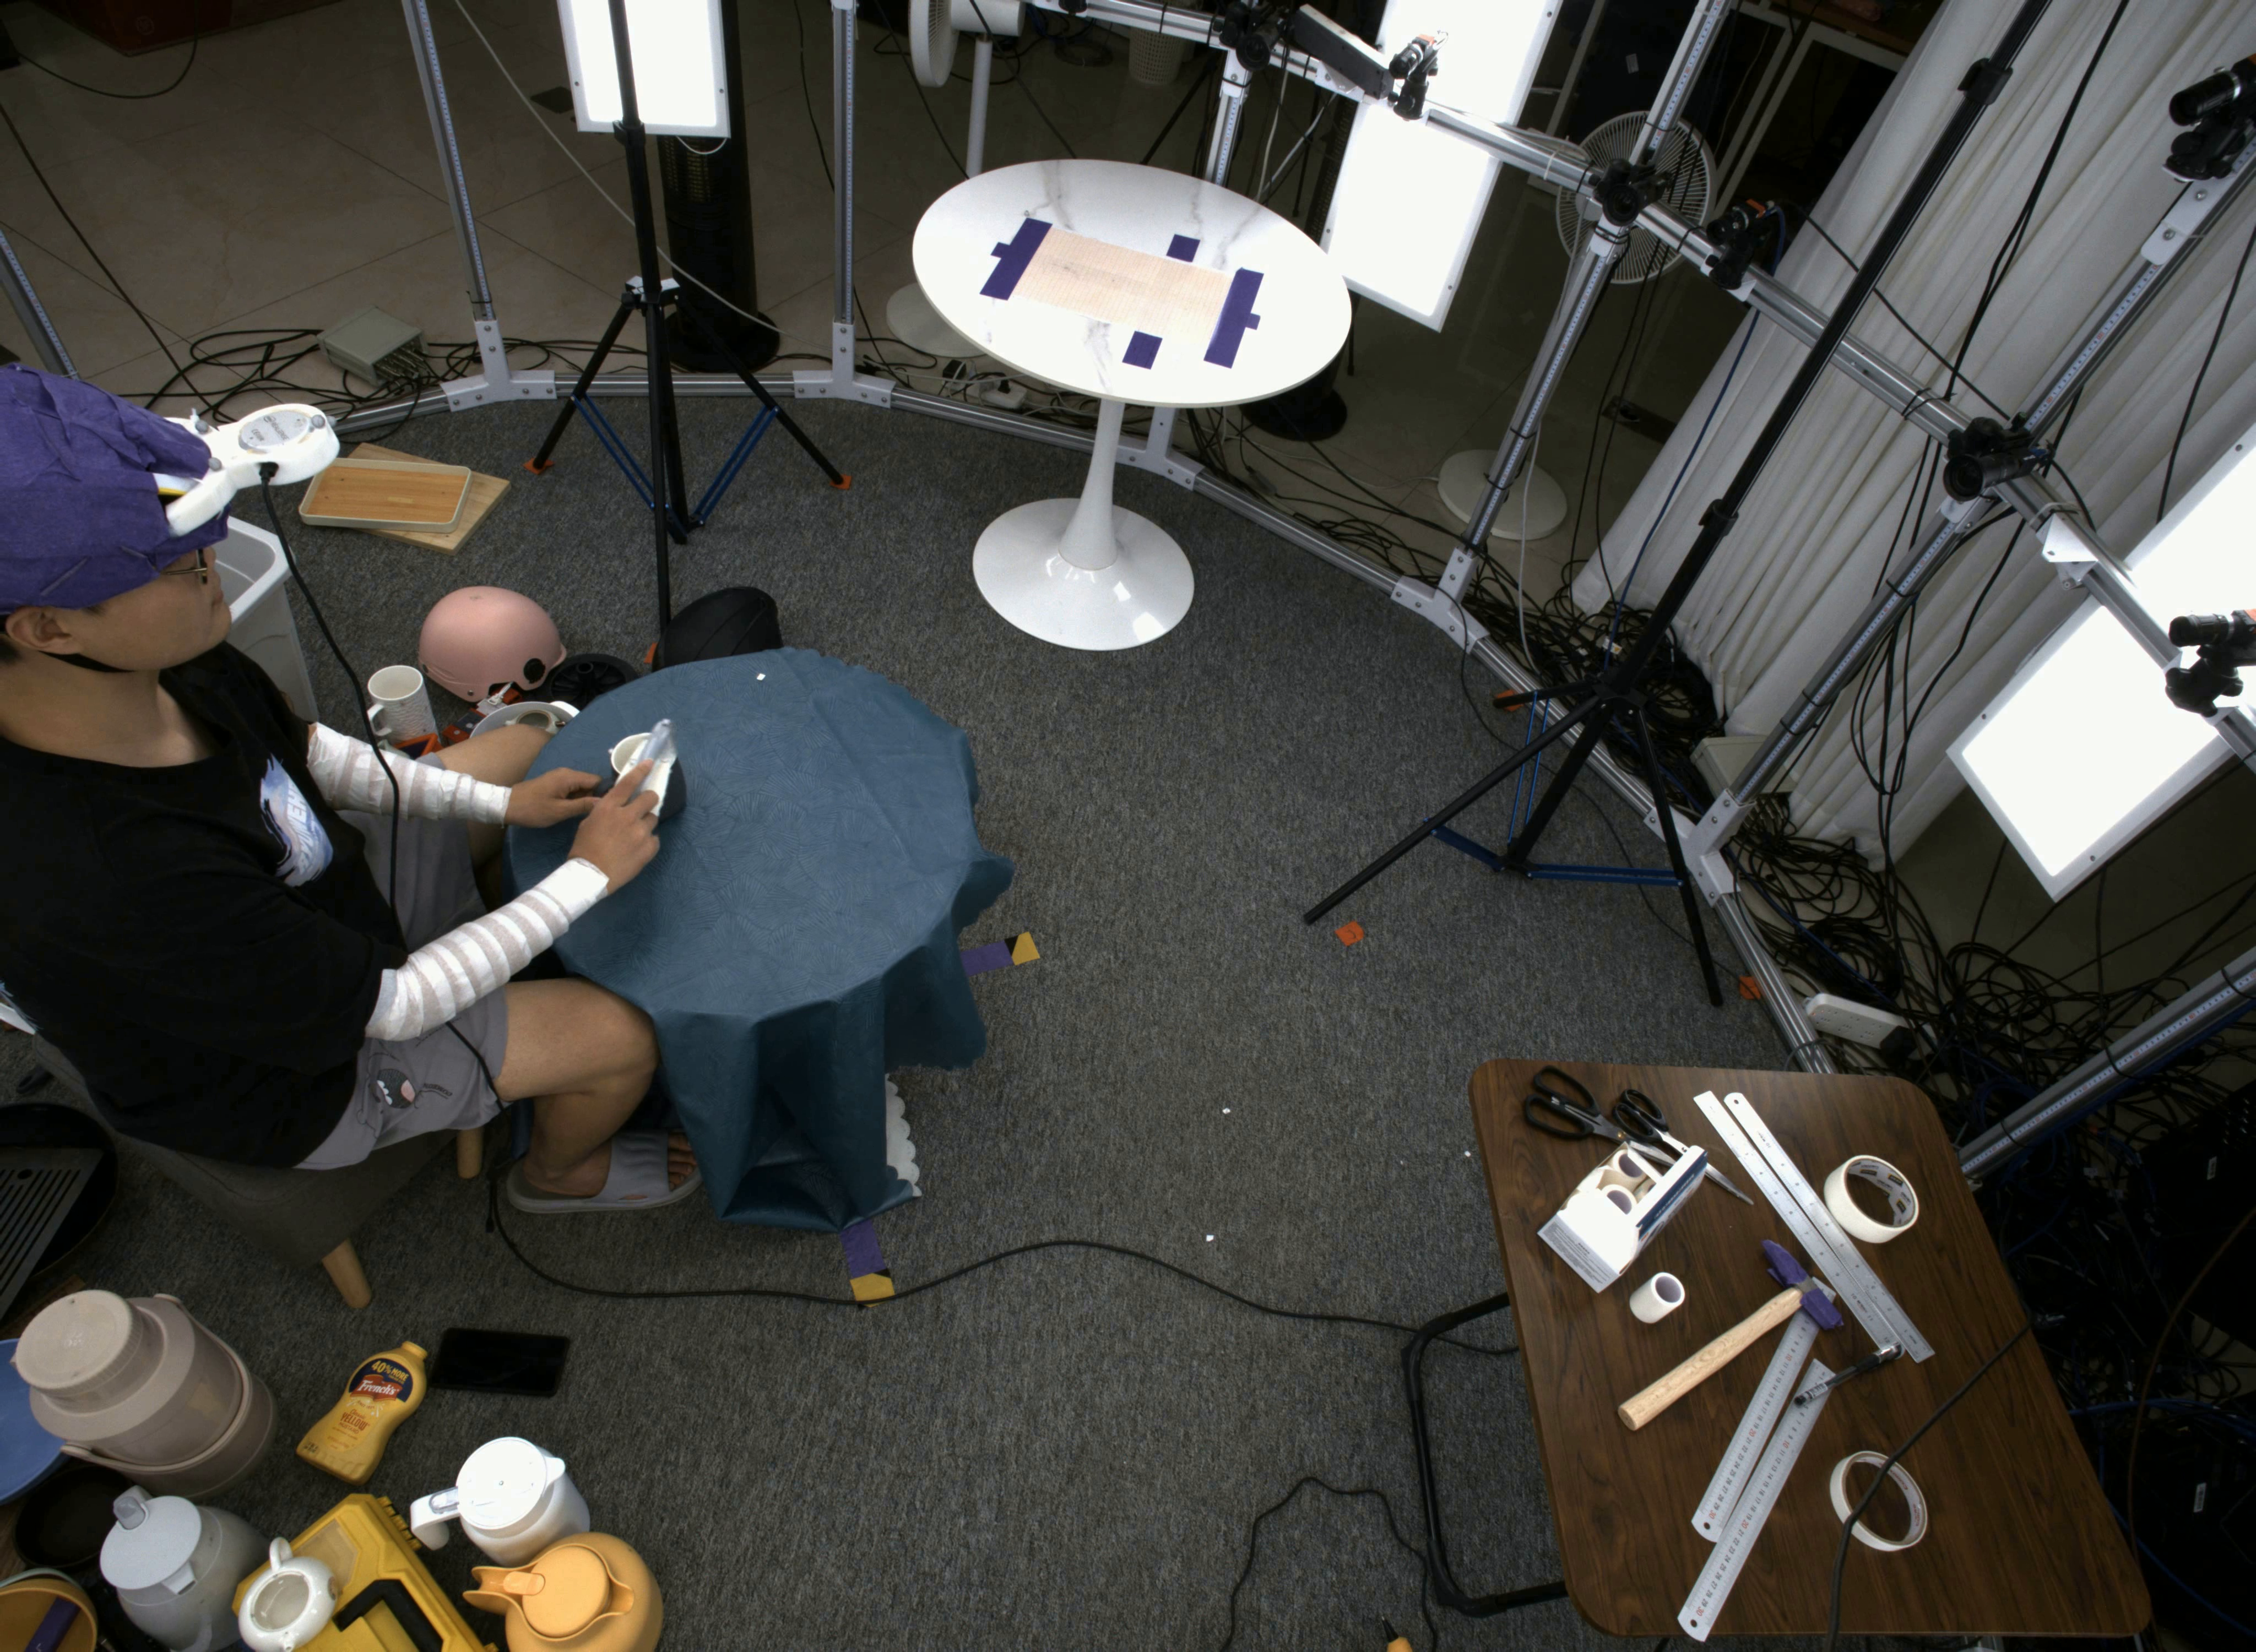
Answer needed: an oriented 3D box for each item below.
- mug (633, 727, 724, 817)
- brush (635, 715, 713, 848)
[{"bbox_3d":[-0.592,-0.066,1.683,0.123,0.092,0.091,-31,65,-30],"label":"mug"},{"bbox_3d":[-0.557,-0.065,1.600,0.062,0.093,0.176,25,78,-15],"label":"brush"}]
